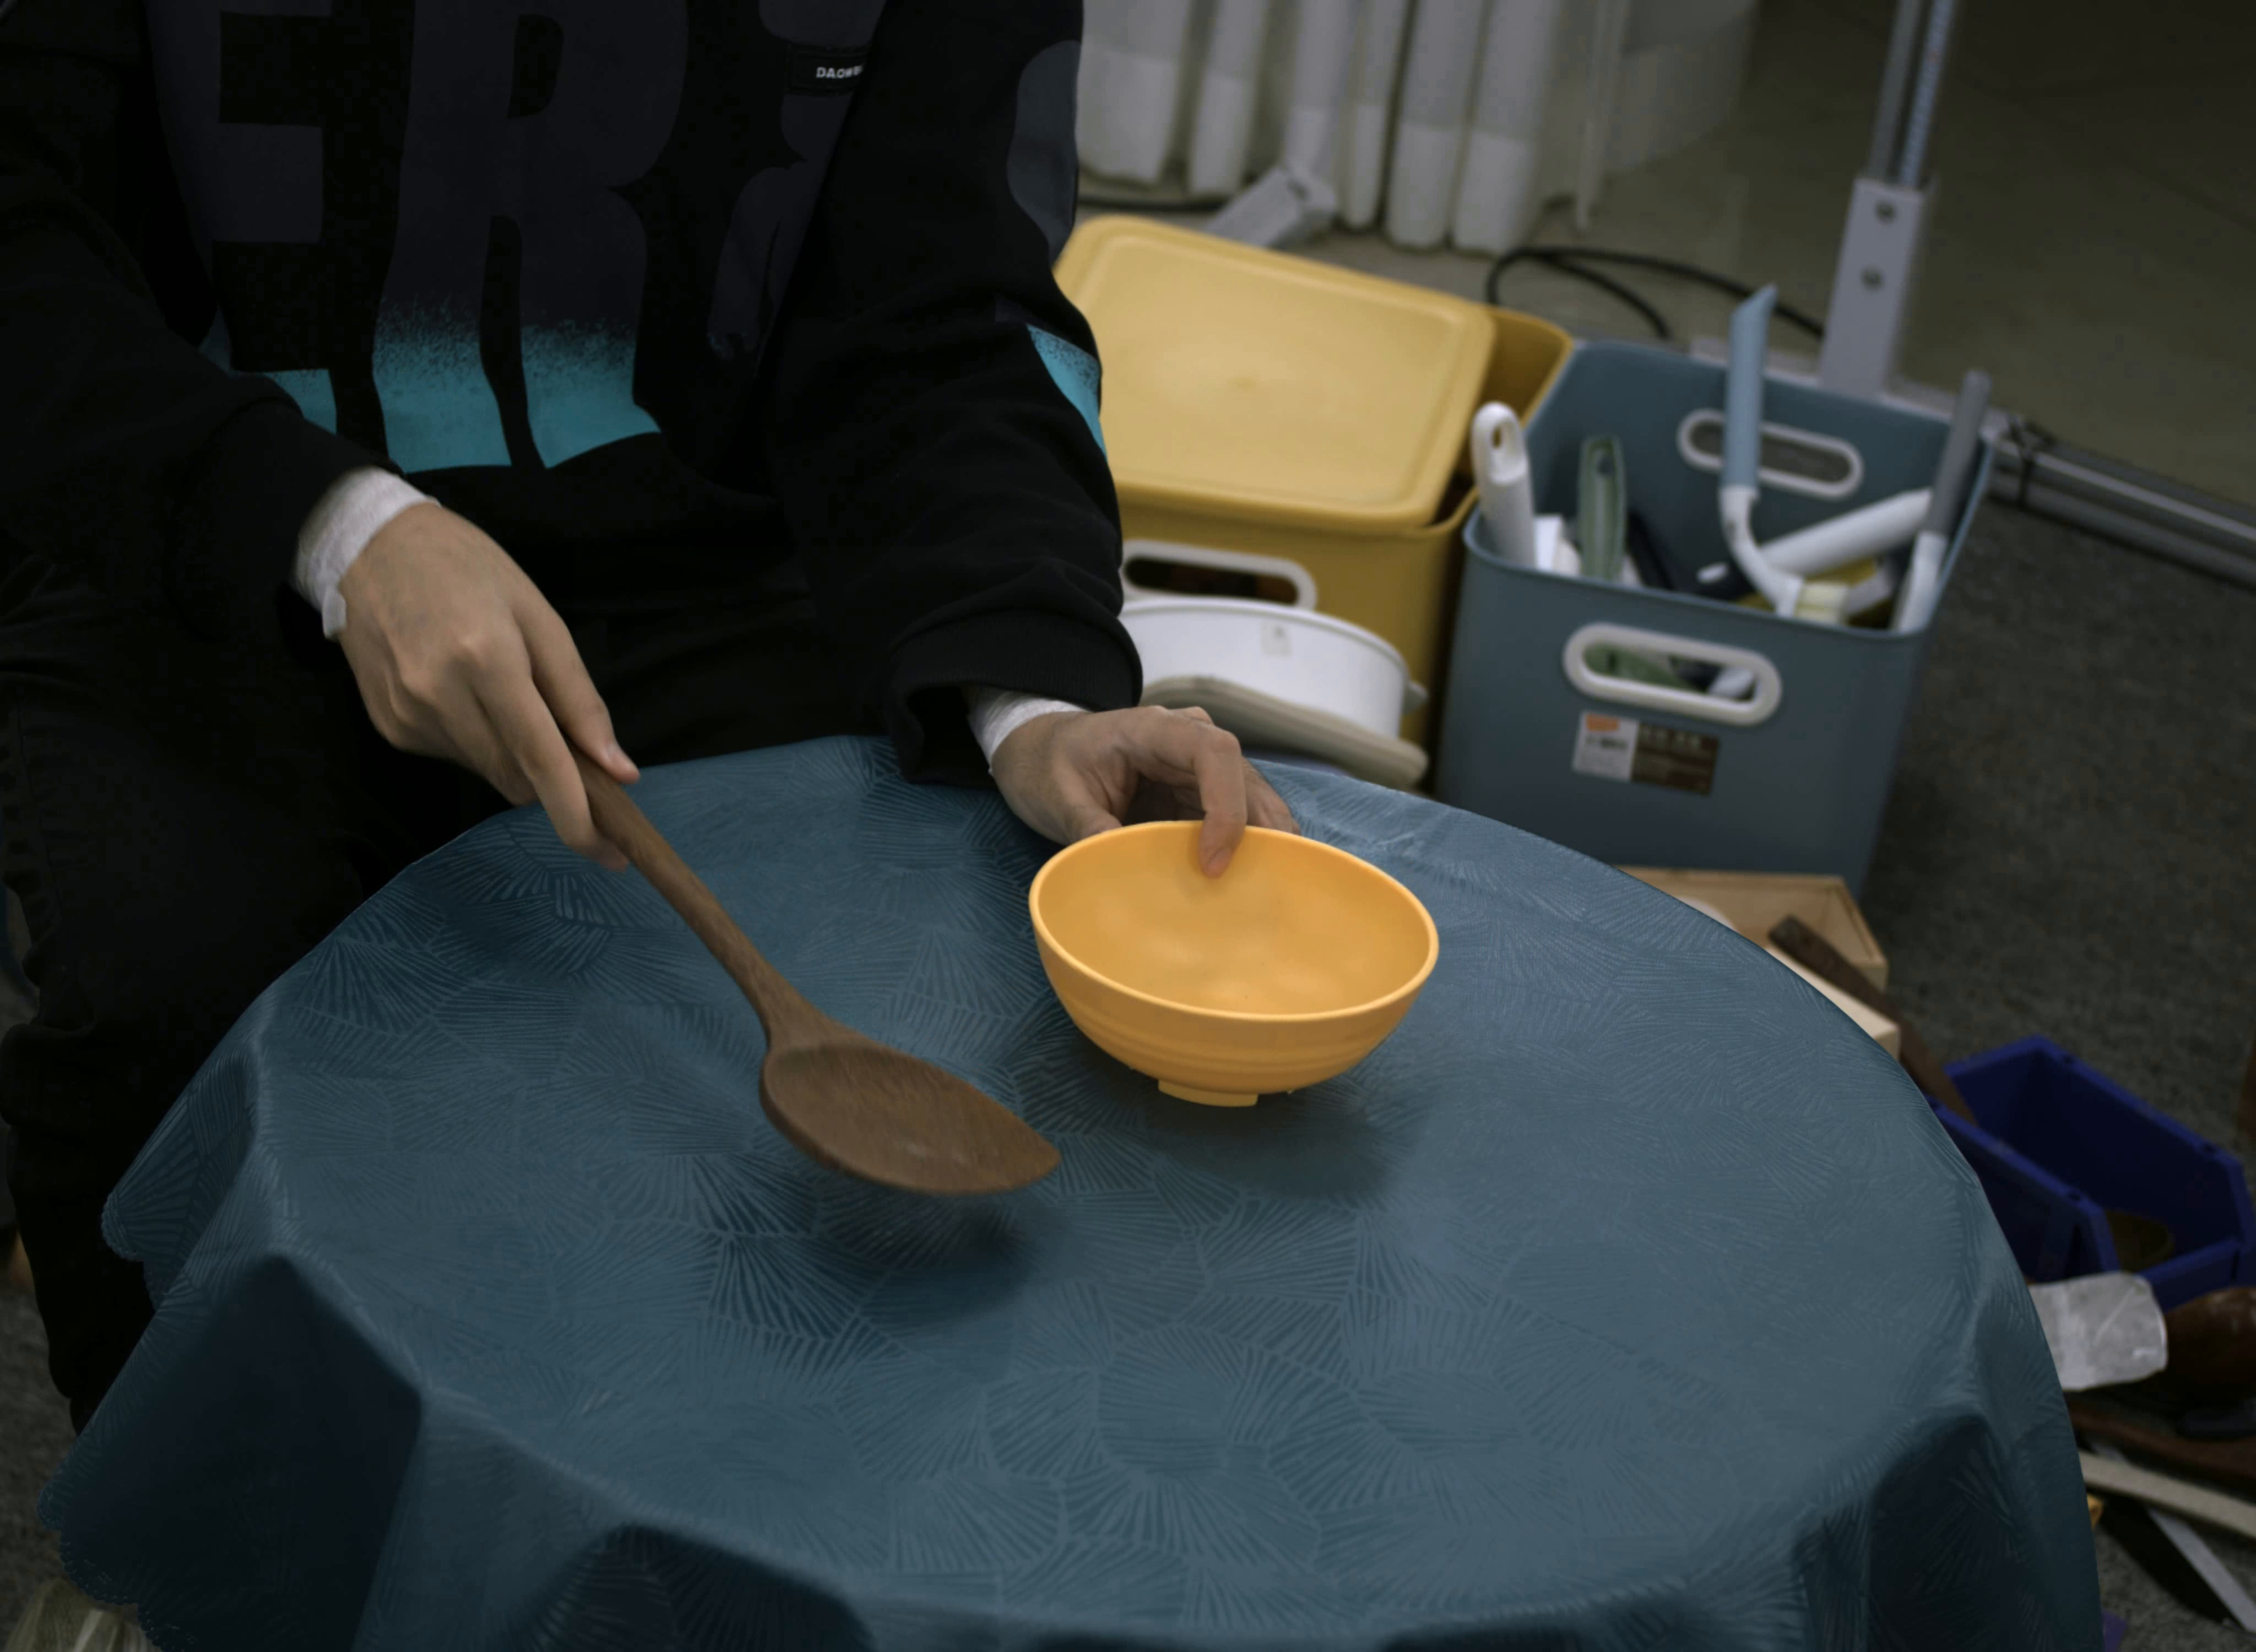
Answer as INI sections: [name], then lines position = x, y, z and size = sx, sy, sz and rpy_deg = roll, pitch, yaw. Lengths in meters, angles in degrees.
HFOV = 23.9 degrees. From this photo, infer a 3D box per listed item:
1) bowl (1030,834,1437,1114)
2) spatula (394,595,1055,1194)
[bowl]
position = 0.033, 0.060, 1.873
size = 0.145, 0.060, 0.146
rpy_deg = 6, 24, -3
[spatula]
position = -0.159, 0.017, 1.848
size = 0.095, 0.016, 0.389
rpy_deg = 1, 32, -41
